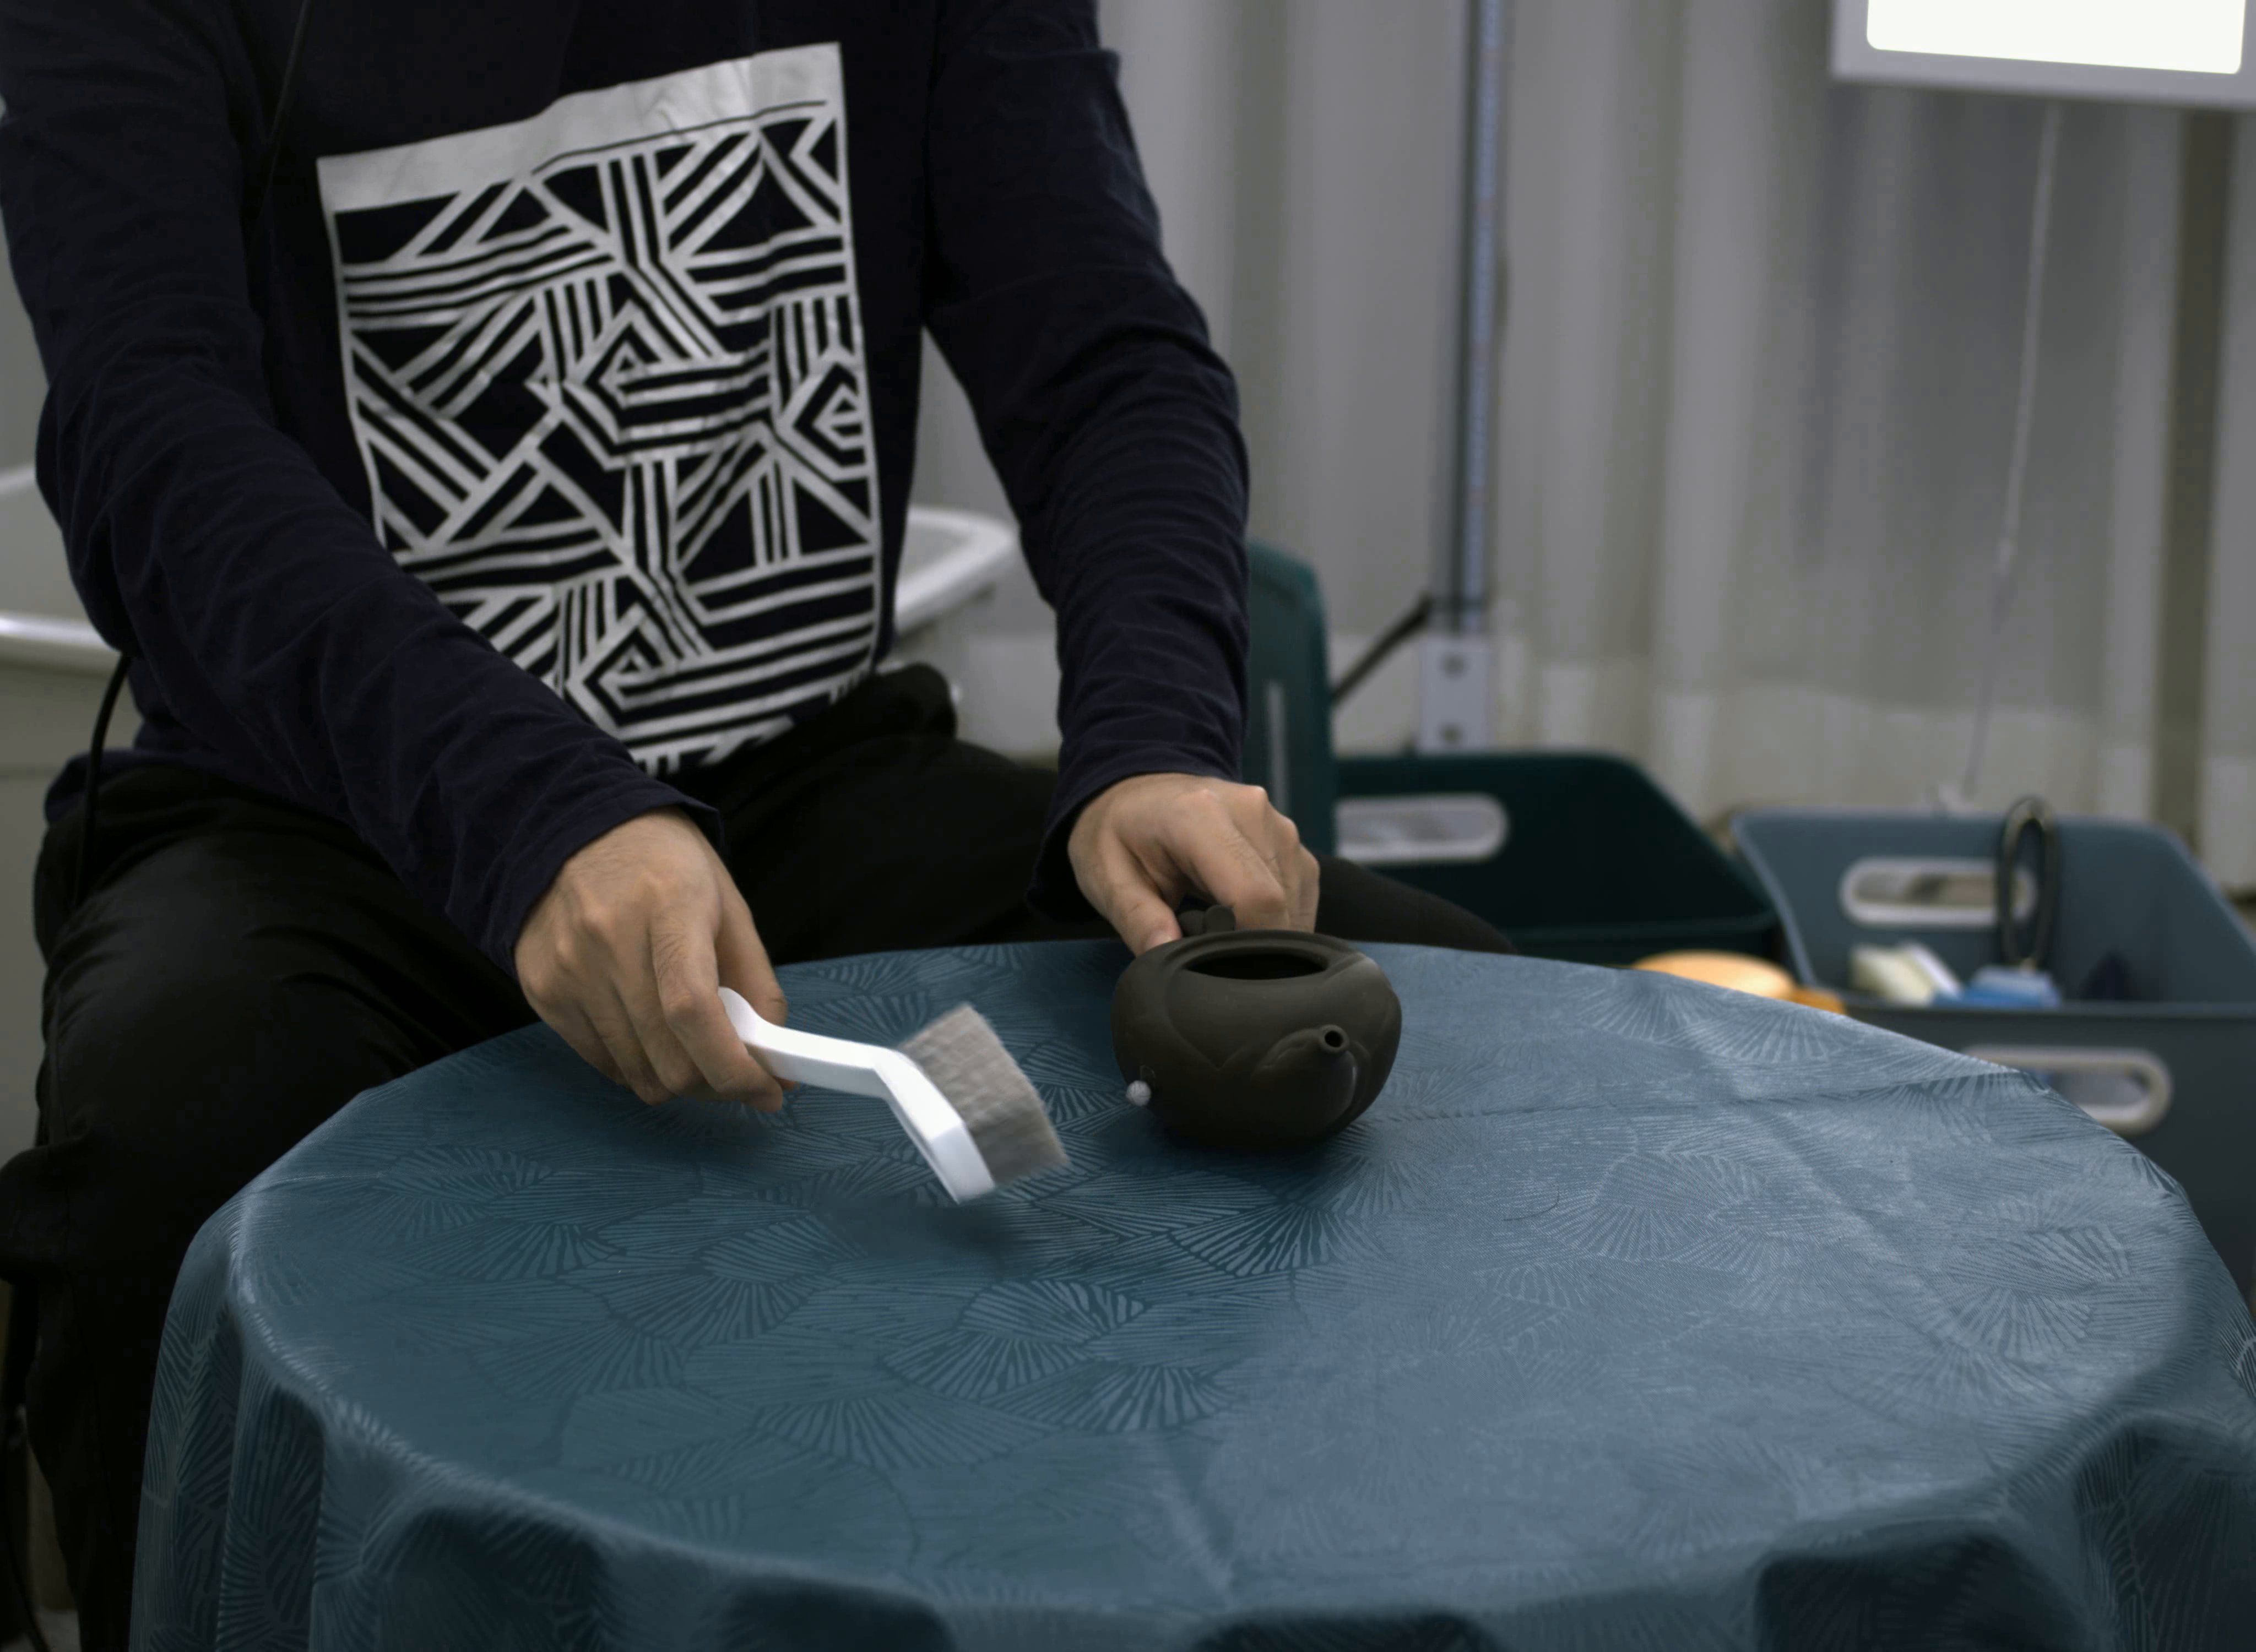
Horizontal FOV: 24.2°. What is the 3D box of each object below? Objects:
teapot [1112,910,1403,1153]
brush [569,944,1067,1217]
[{"bbox_3d":[0.040,0.066,1.680,0.092,0.065,0.152,-5,16,-16],"label":"teapot"},{"bbox_3d":[-0.098,0.064,1.648,0.050,0.035,0.240,-45,36,-17],"label":"brush"}]
